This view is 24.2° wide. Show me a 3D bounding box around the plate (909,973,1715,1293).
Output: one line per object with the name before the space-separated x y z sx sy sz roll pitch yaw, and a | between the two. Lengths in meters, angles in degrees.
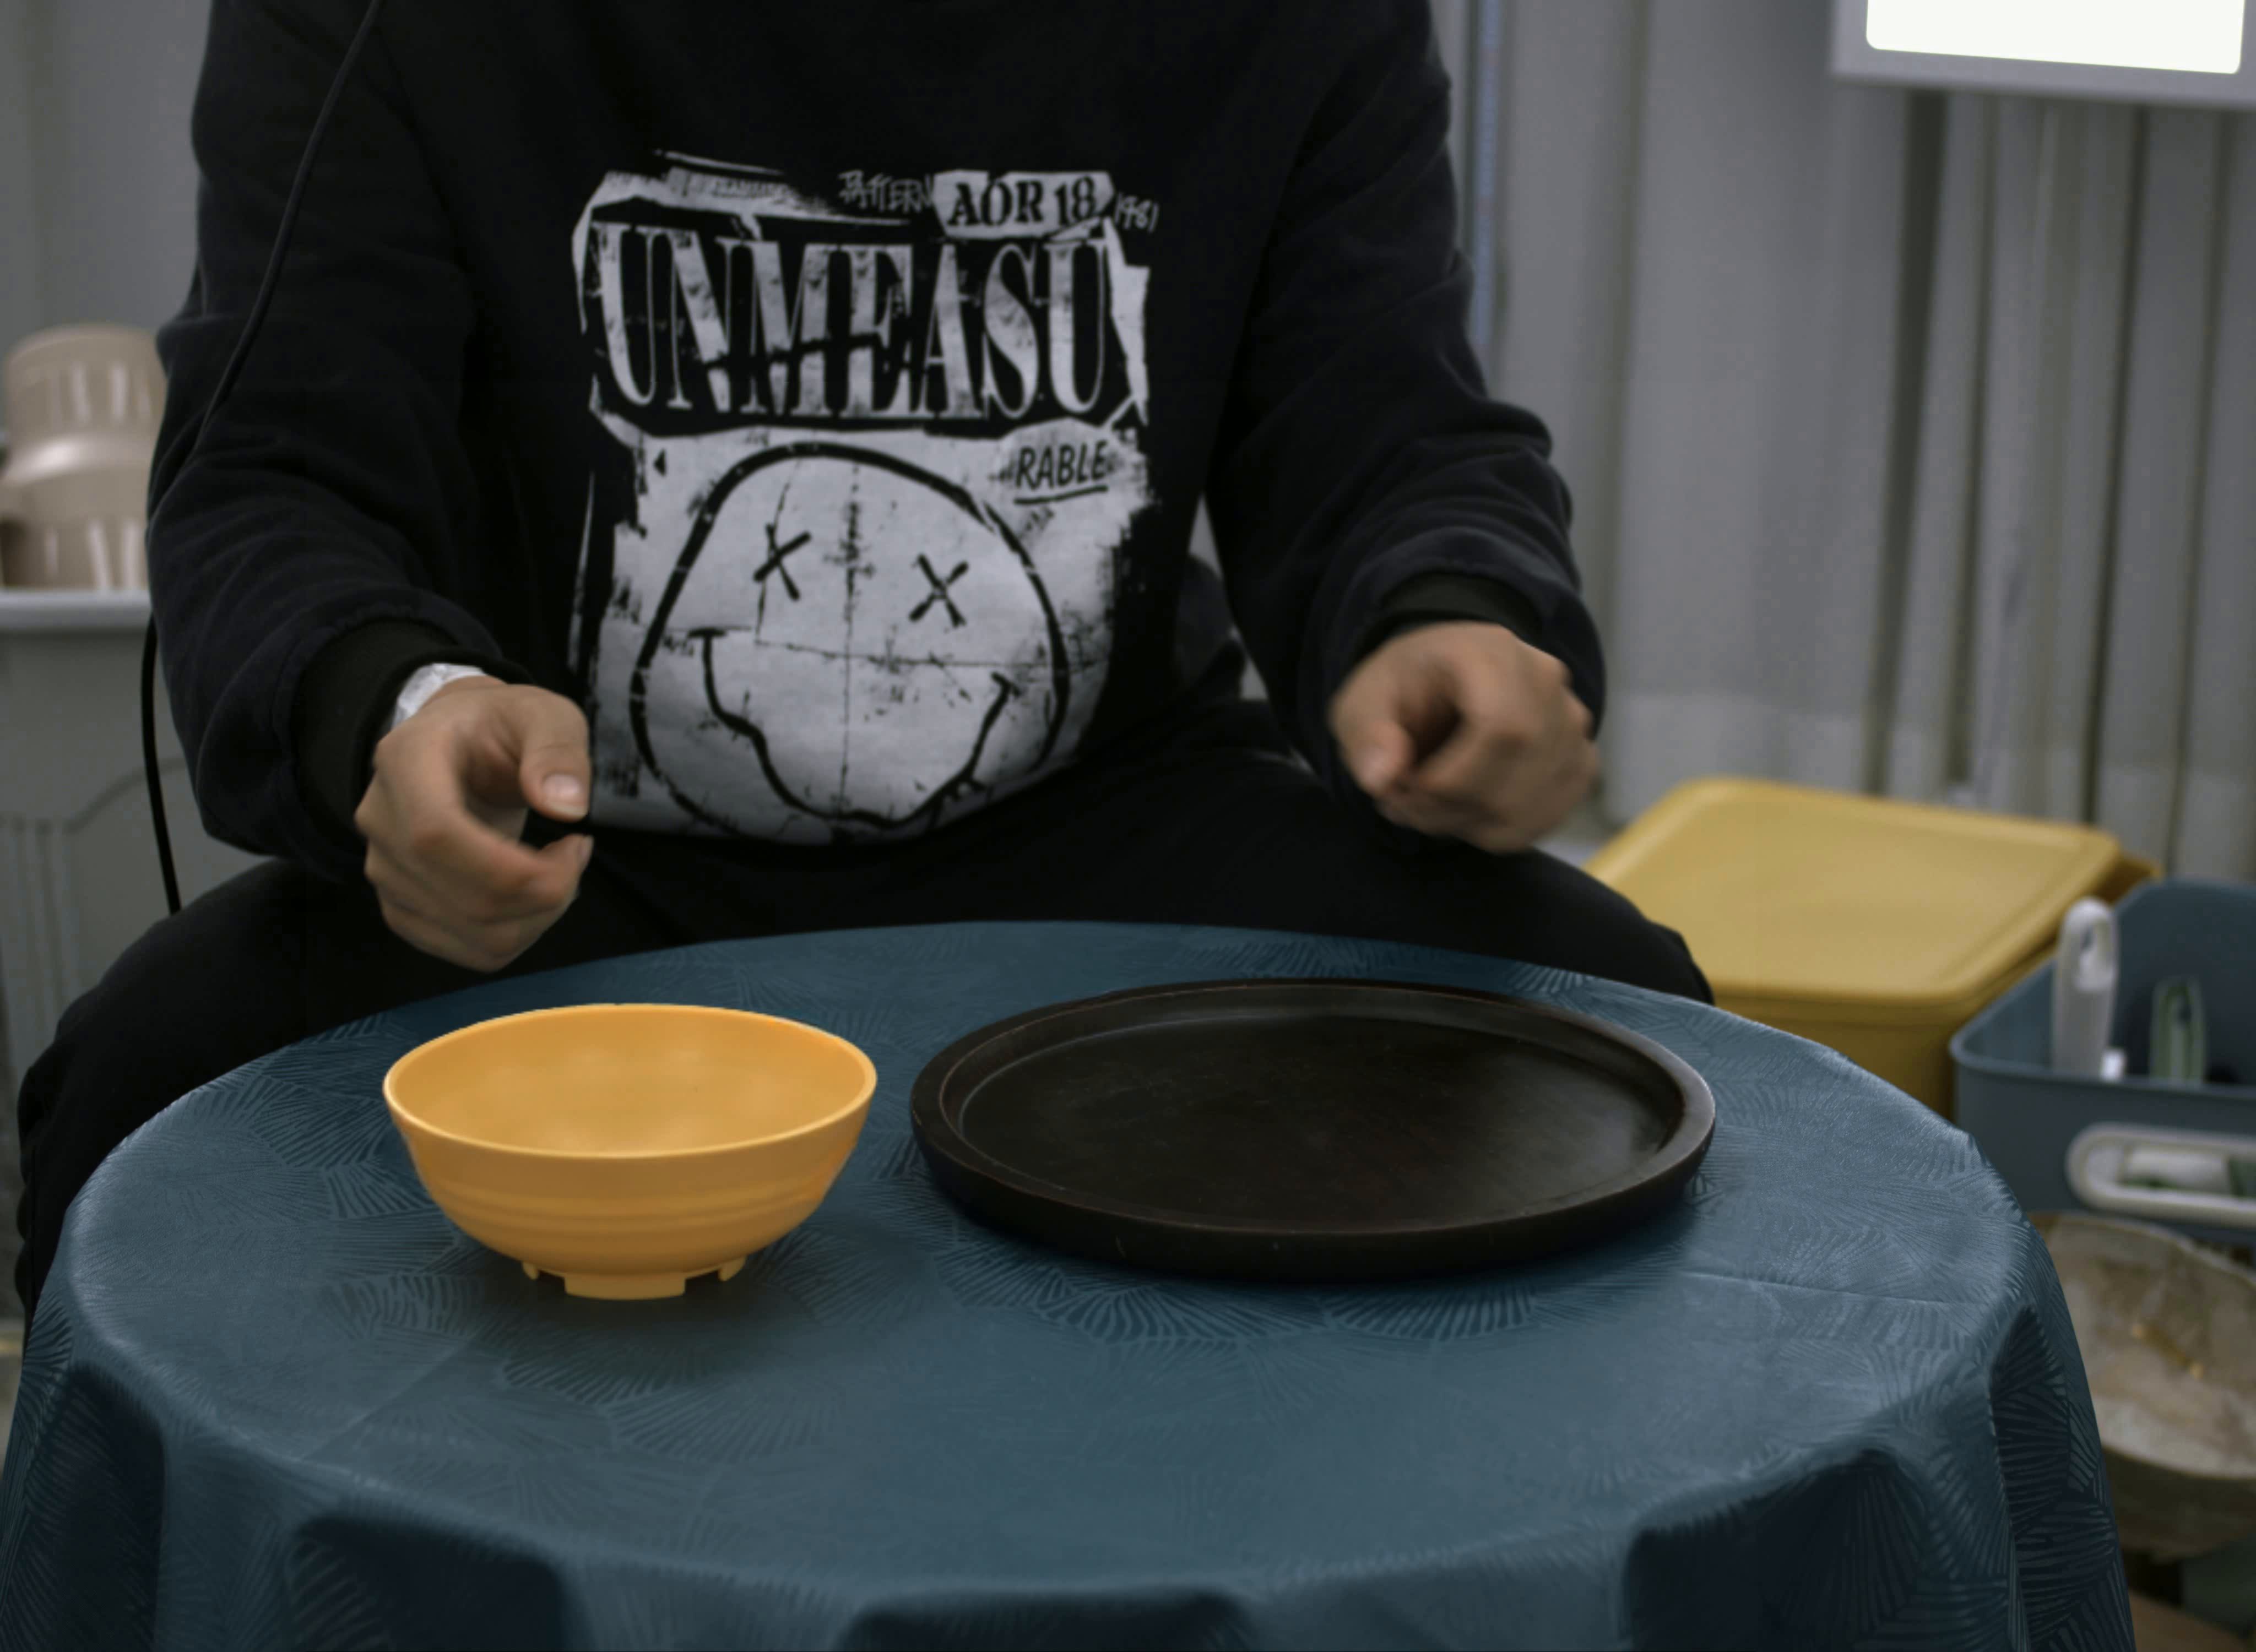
plate | 0.058 0.094 1.653 0.254 0.029 0.253 -1 15 1

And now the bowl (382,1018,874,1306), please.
bowl | -0.147 0.103 1.552 0.145 0.060 0.144 2 13 0
